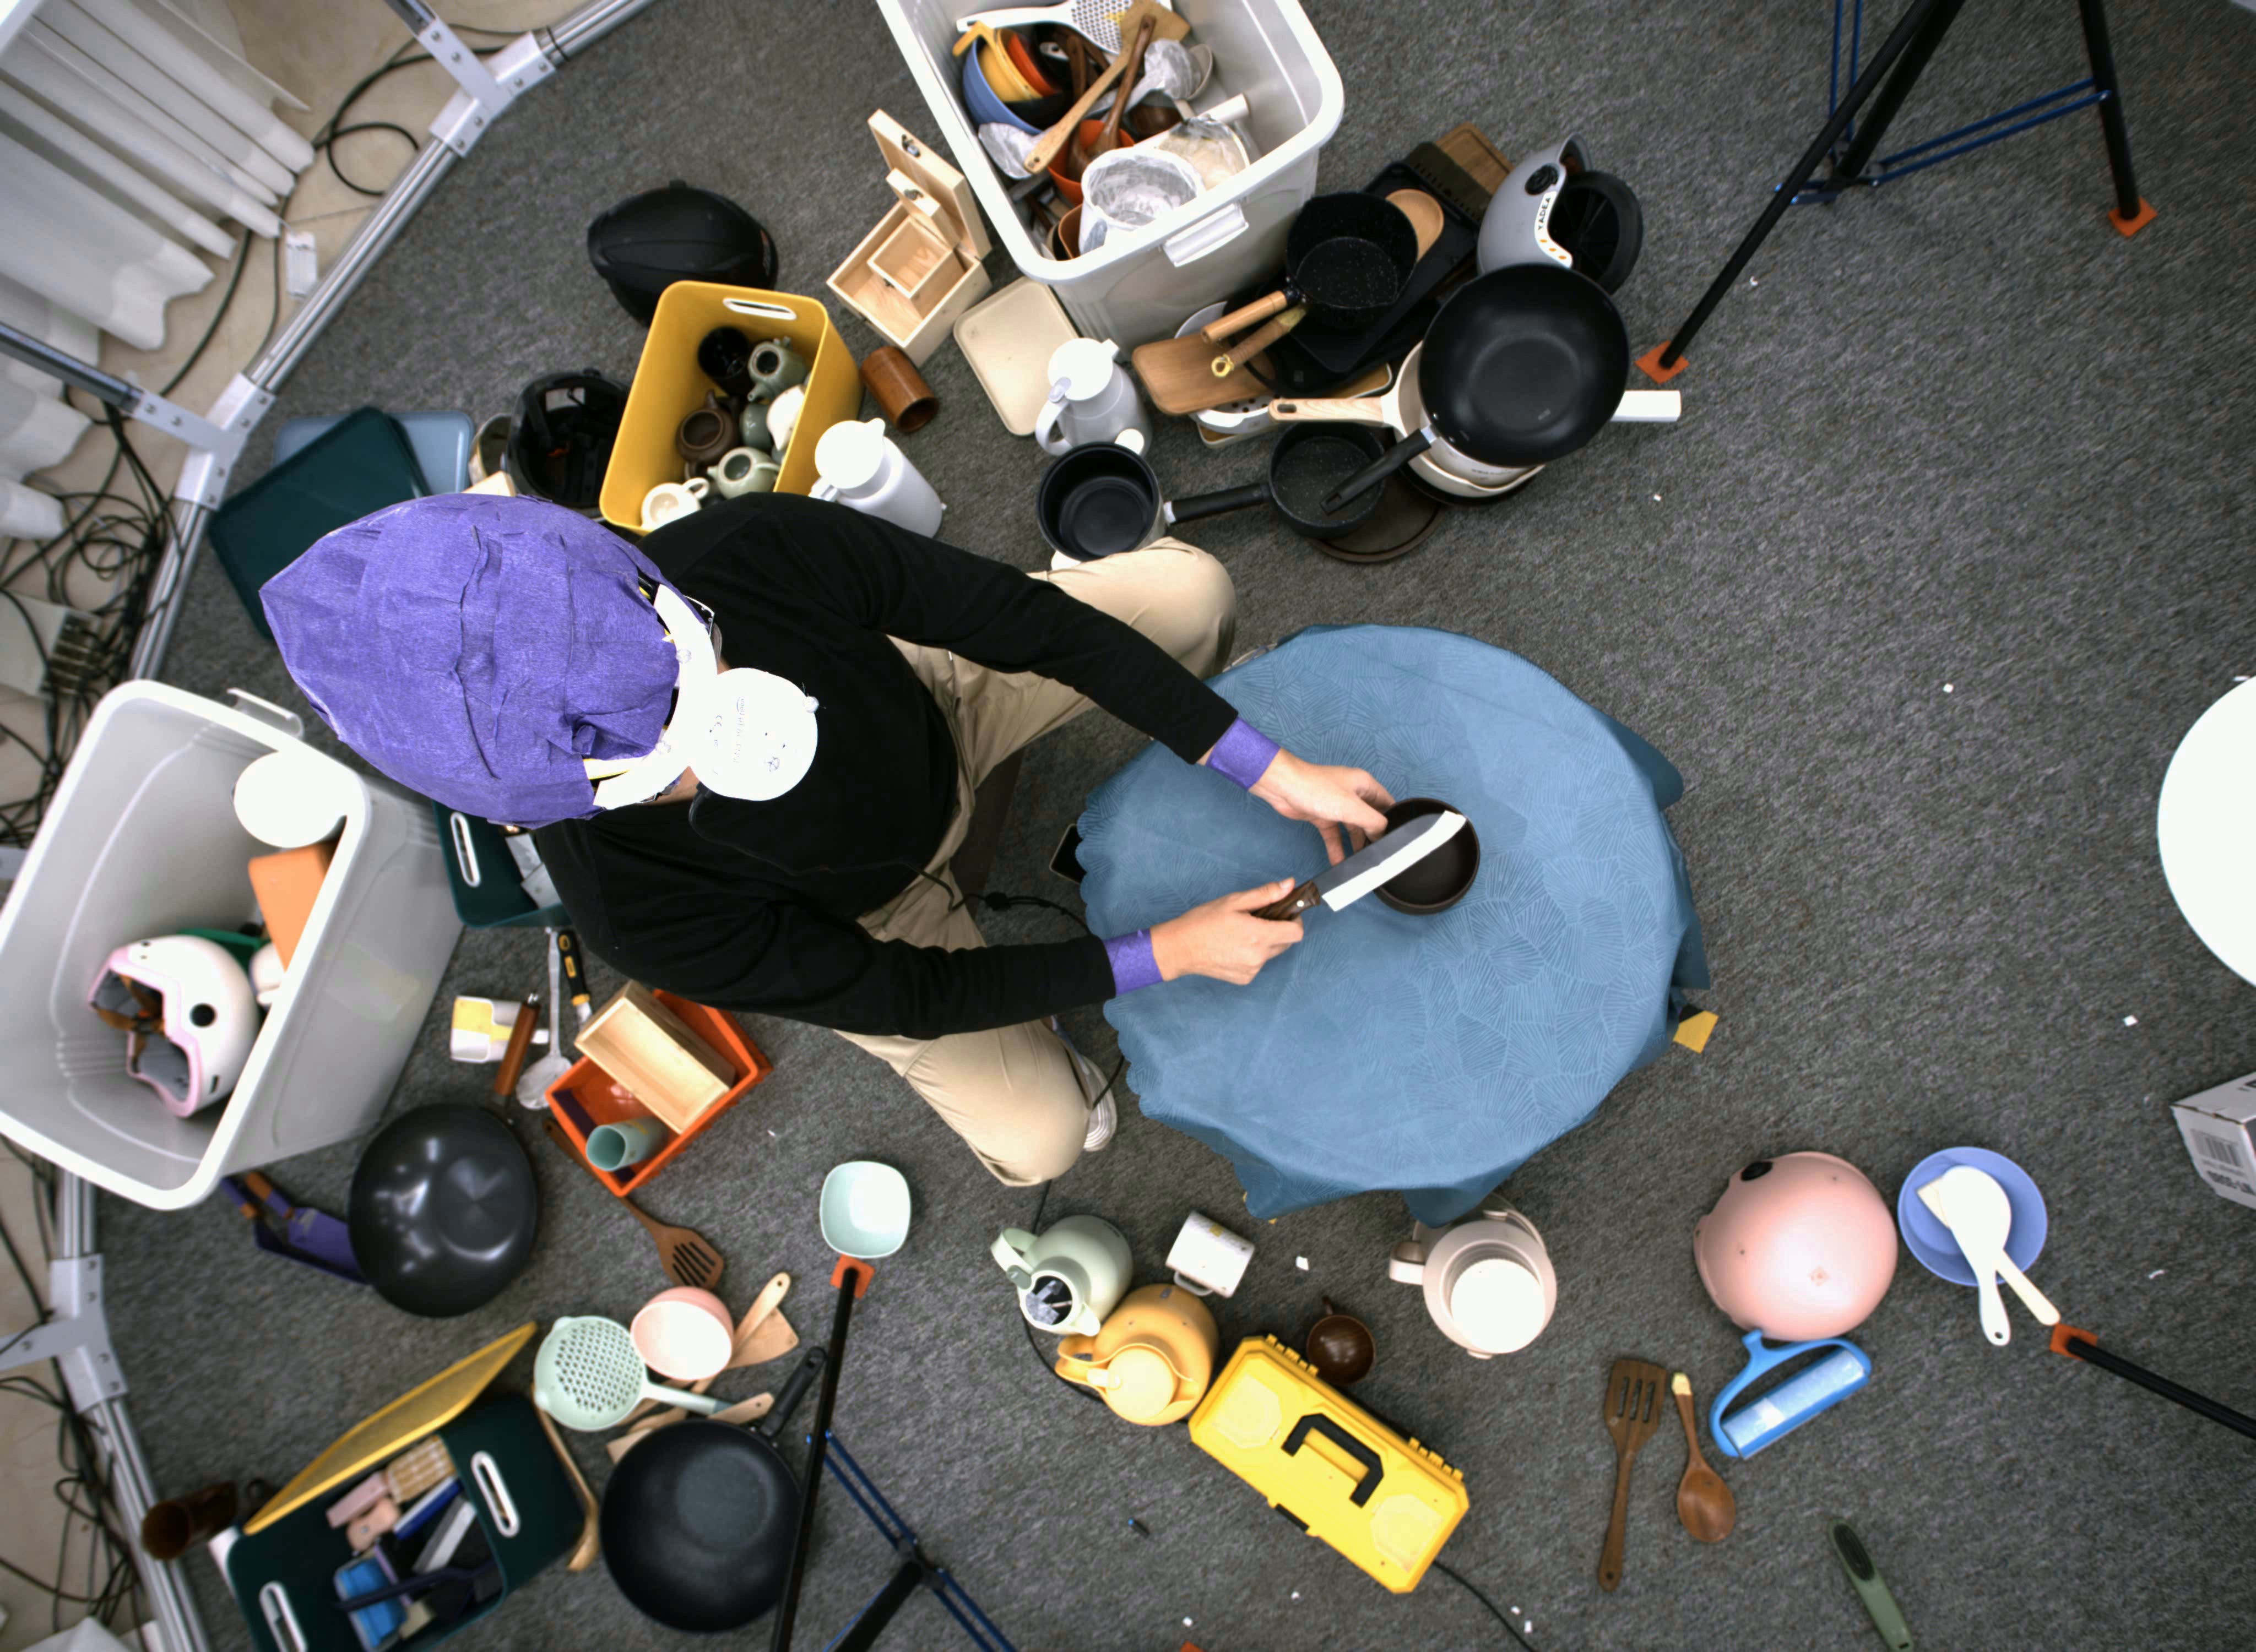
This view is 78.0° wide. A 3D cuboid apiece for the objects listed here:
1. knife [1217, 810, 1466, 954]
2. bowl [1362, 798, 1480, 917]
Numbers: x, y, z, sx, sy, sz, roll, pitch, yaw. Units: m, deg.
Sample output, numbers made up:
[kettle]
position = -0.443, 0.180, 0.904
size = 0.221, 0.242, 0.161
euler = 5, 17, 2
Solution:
[knife]
position = 0.207, 0.055, 1.367
size = 0.294, 0.019, 0.051
euler = -32, 114, 27
[bowl]
position = 0.294, 0.034, 1.396
size = 0.118, 0.070, 0.116
euler = -2, 76, 8
